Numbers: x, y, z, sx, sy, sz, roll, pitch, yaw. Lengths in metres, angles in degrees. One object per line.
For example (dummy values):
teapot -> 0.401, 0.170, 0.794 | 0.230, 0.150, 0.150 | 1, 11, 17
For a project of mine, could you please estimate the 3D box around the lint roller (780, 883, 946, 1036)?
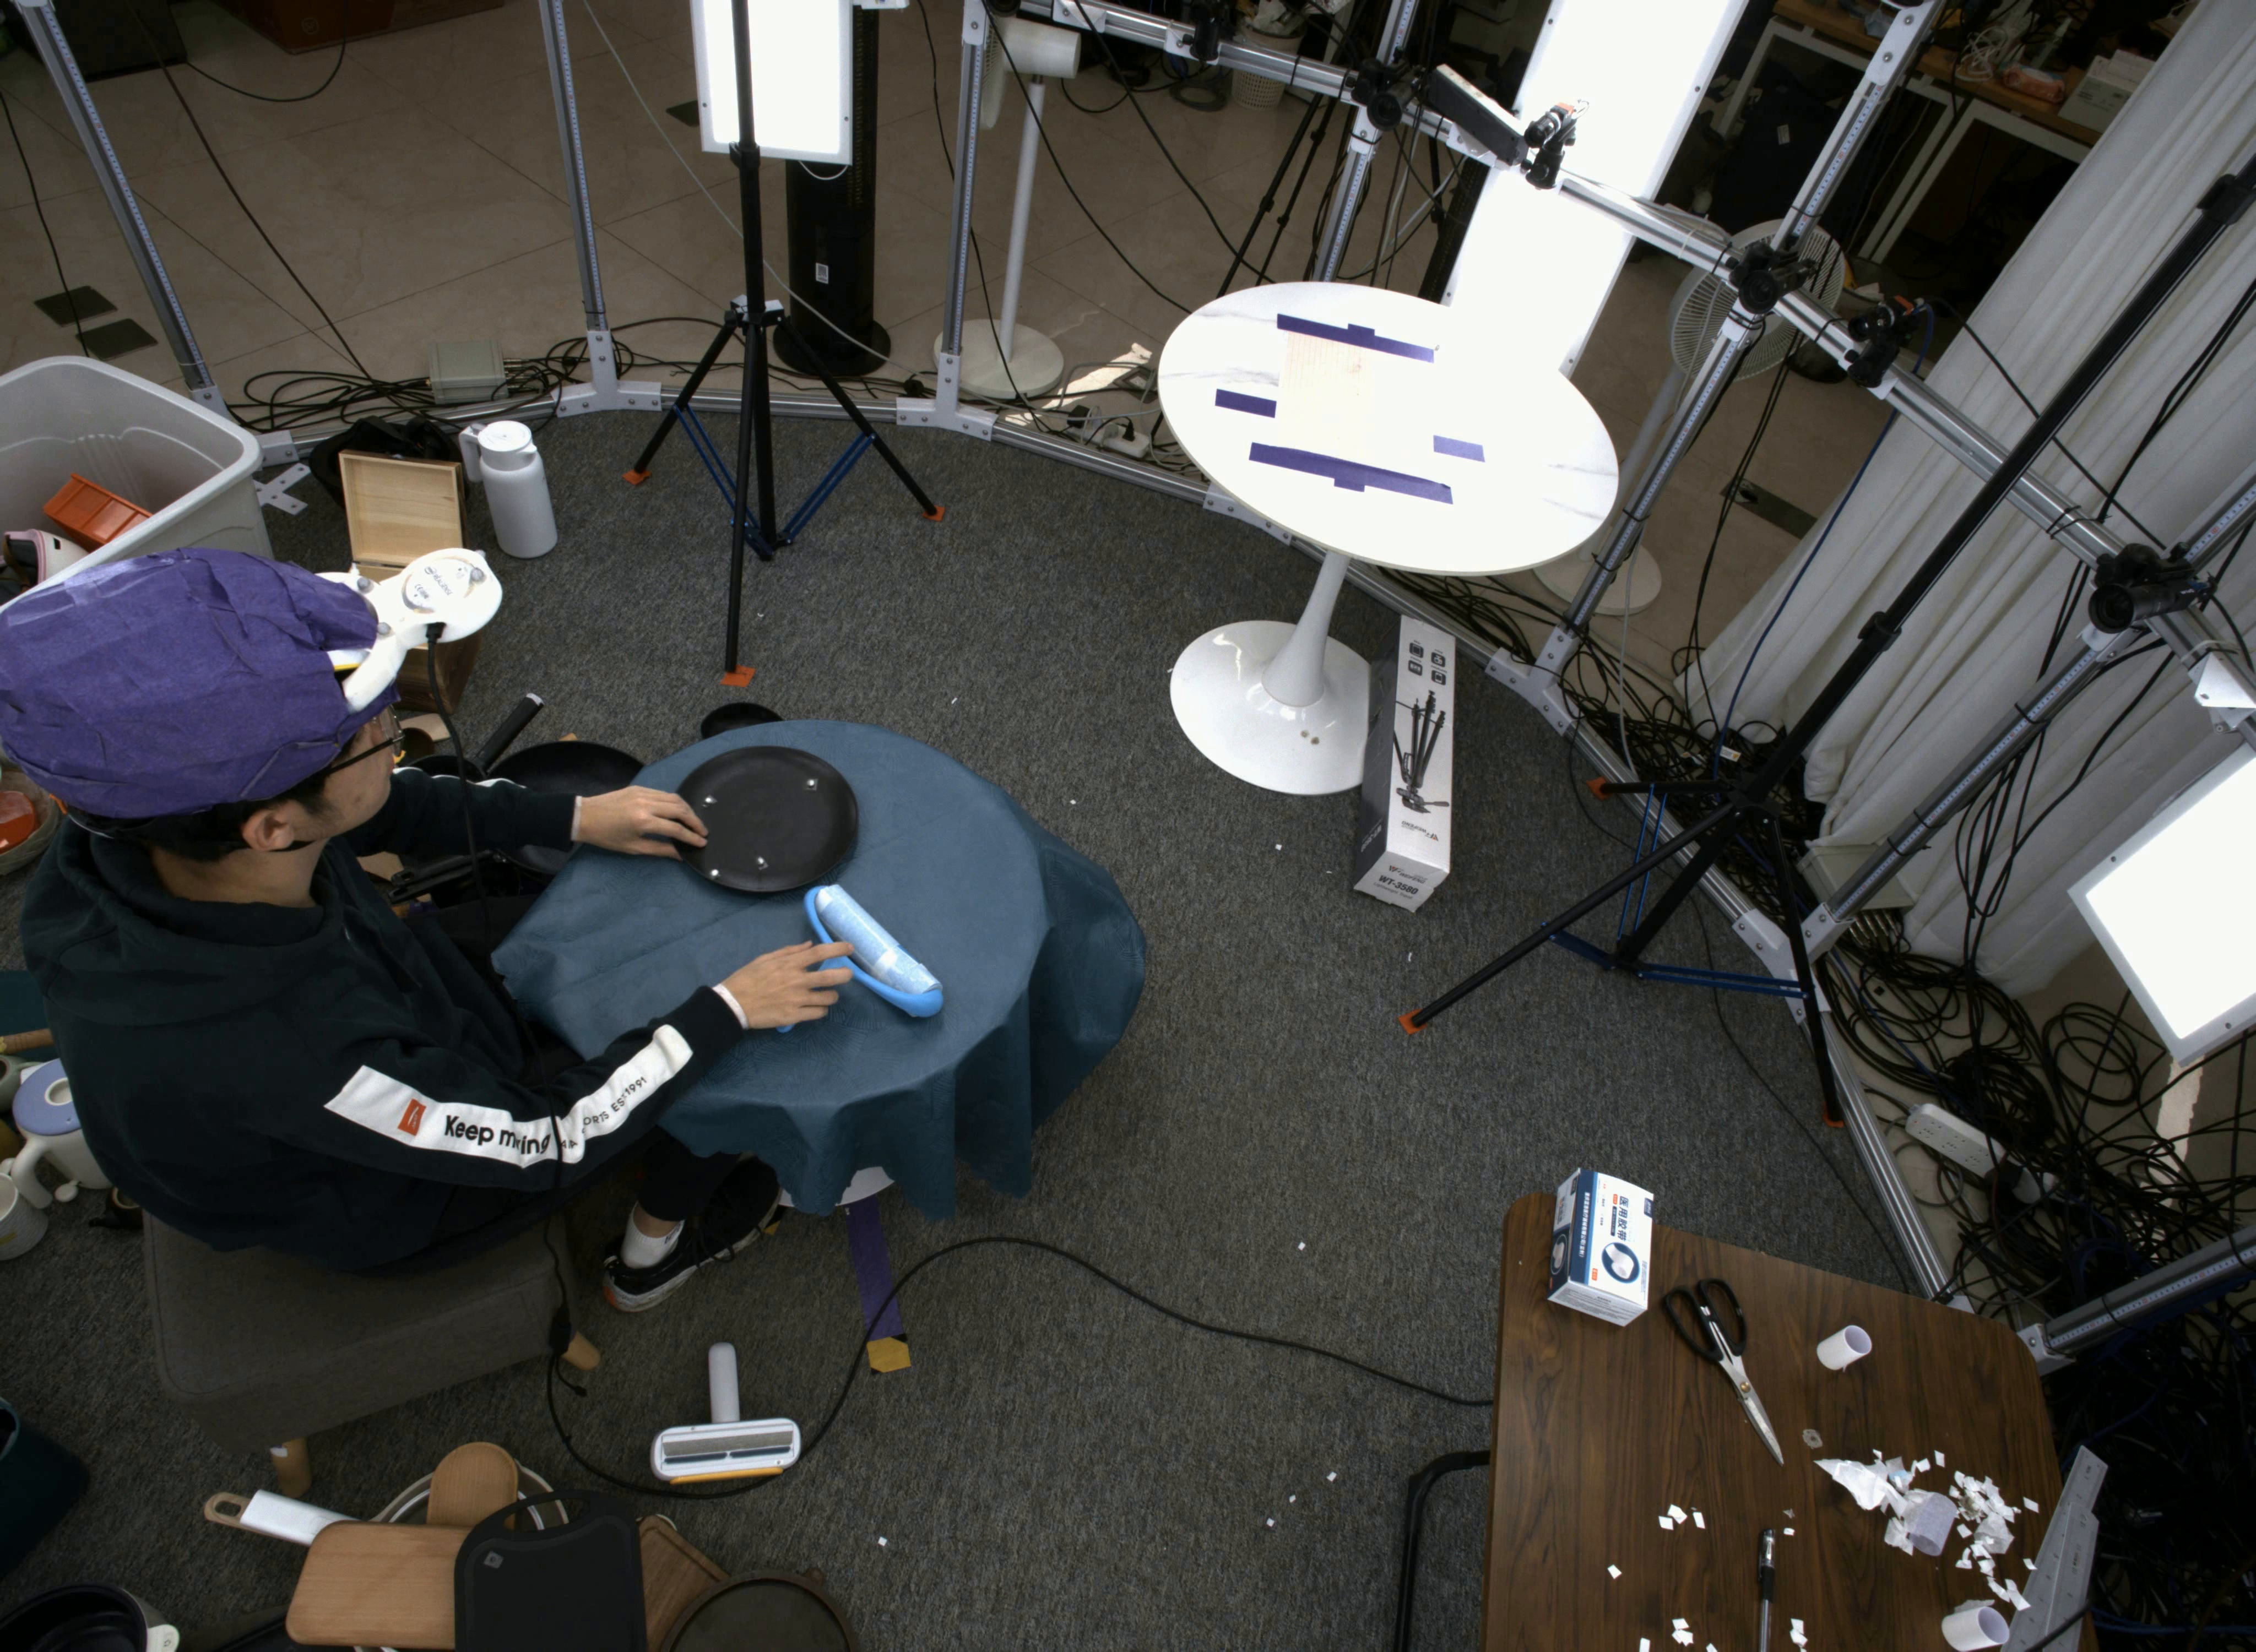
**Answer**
lint roller -> -0.350, 0.181, 1.580 | 0.224, 0.069, 0.180 | 38, 55, 14

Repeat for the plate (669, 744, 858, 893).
plate -> -0.479, -0.009, 1.707 | 0.244, 0.024, 0.240 | 8, 53, -9
